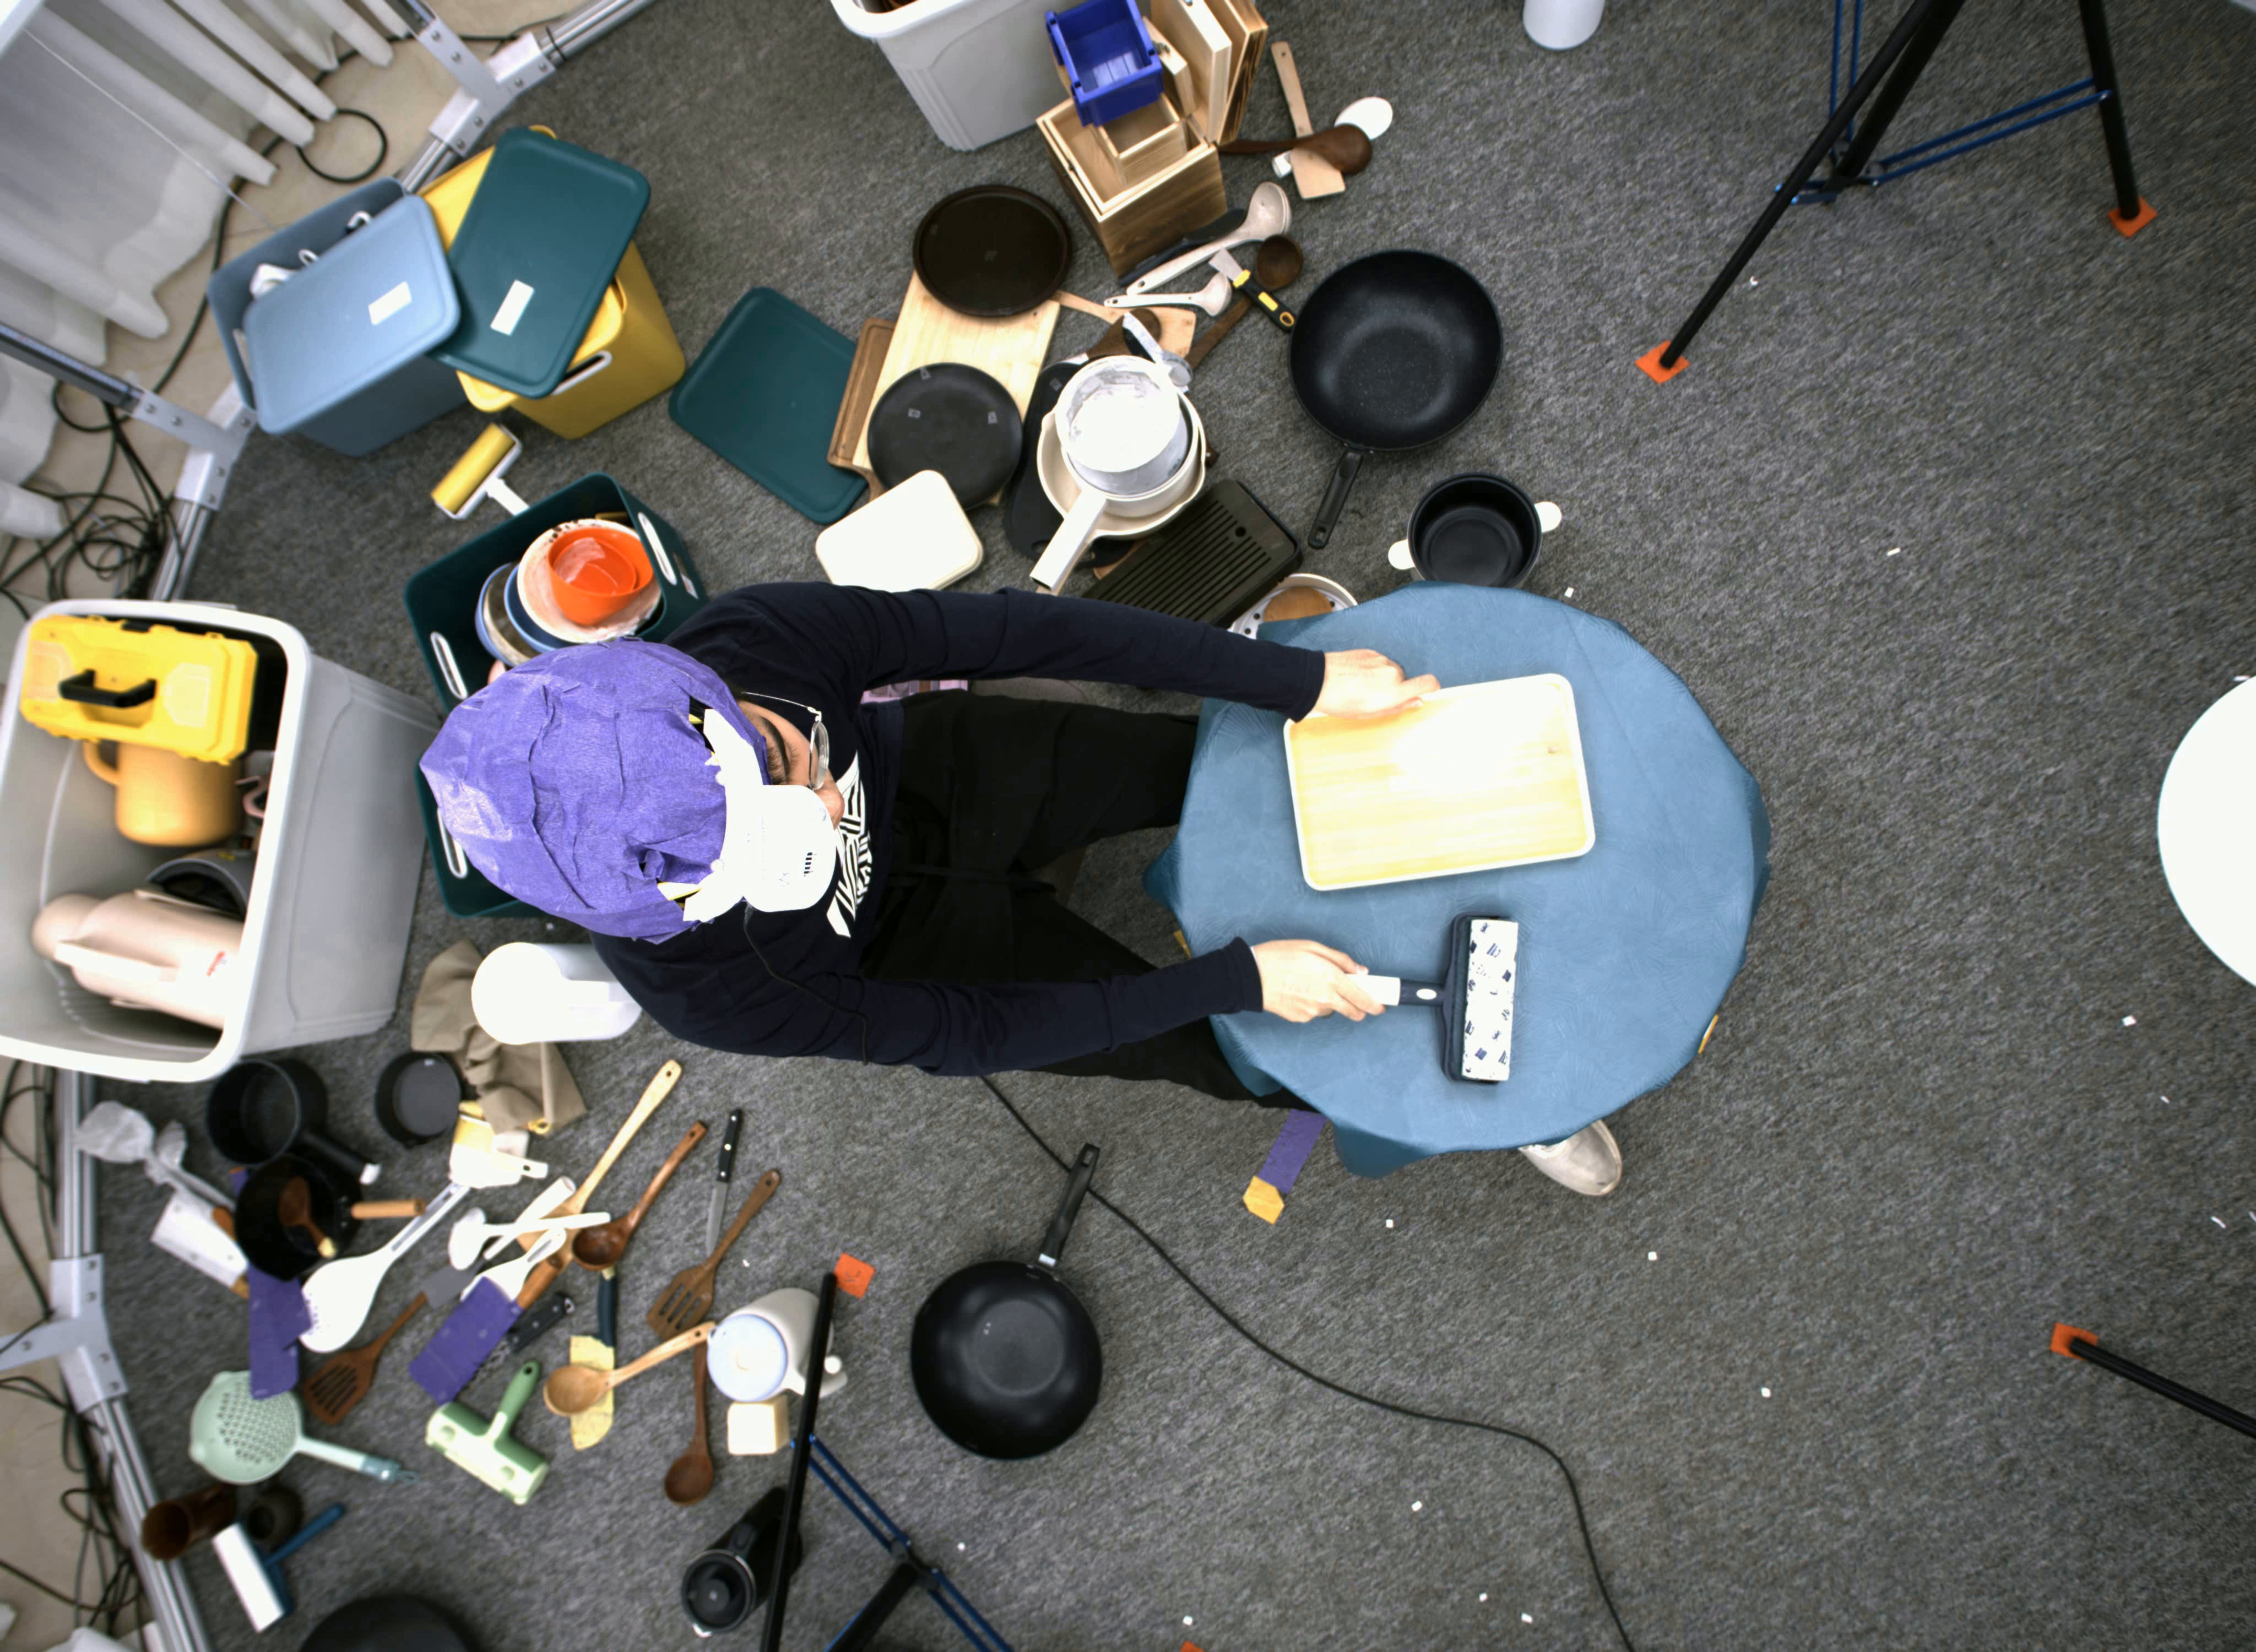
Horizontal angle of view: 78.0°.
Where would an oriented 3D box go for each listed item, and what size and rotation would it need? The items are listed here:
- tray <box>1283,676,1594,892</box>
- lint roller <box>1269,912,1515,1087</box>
[{"bbox_3d":[0.322,-0.044,1.435,0.302,0.027,0.192,-8,92,10],"label":"tray"},{"bbox_3d":[0.269,0.170,1.422,0.248,0.050,0.176,3,88,7],"label":"lint roller"}]
